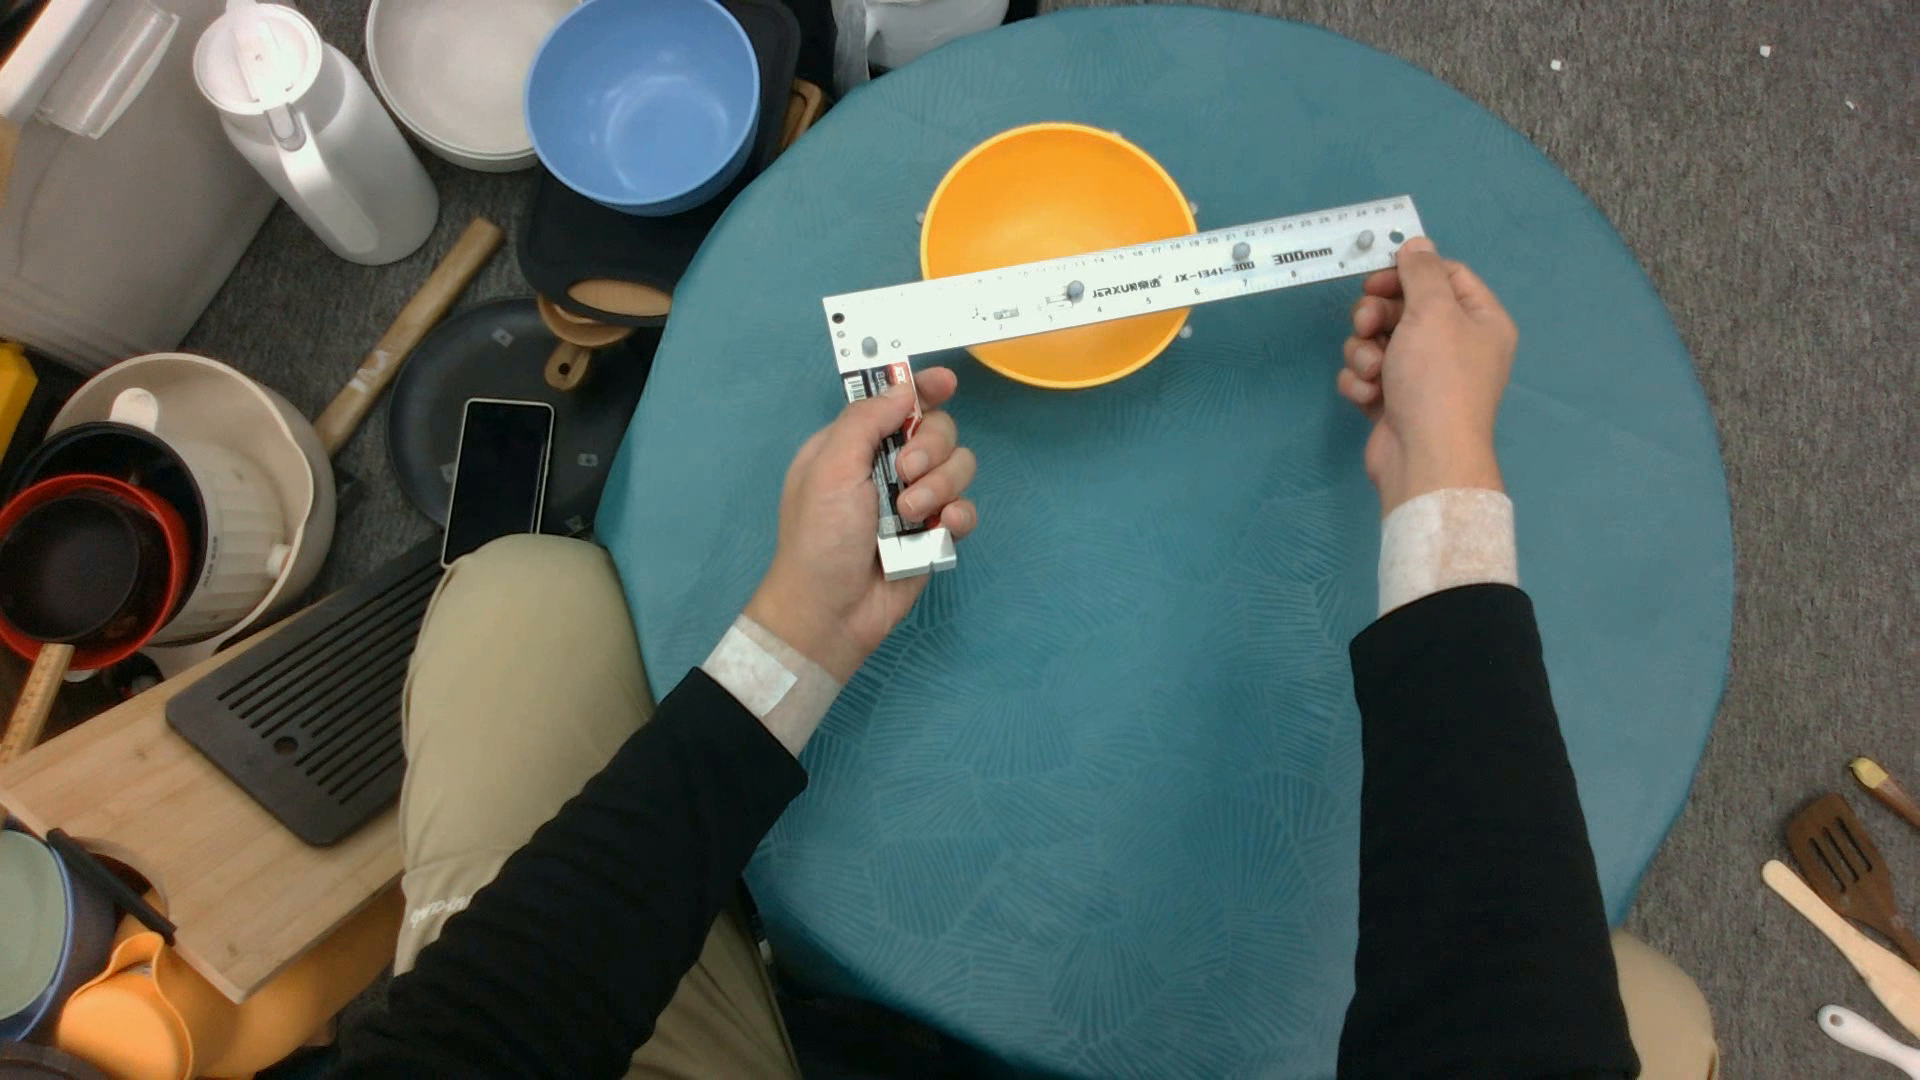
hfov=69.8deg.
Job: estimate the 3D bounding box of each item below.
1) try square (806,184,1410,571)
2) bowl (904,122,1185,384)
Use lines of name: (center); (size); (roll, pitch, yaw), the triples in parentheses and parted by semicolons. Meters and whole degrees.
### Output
try square: (0.090, -0.086, 0.677); (0.313, 0.016, 0.152); (-11, 72, -8)
bowl: (0.043, -0.144, 0.735); (0.145, 0.060, 0.145); (0, 78, -1)
